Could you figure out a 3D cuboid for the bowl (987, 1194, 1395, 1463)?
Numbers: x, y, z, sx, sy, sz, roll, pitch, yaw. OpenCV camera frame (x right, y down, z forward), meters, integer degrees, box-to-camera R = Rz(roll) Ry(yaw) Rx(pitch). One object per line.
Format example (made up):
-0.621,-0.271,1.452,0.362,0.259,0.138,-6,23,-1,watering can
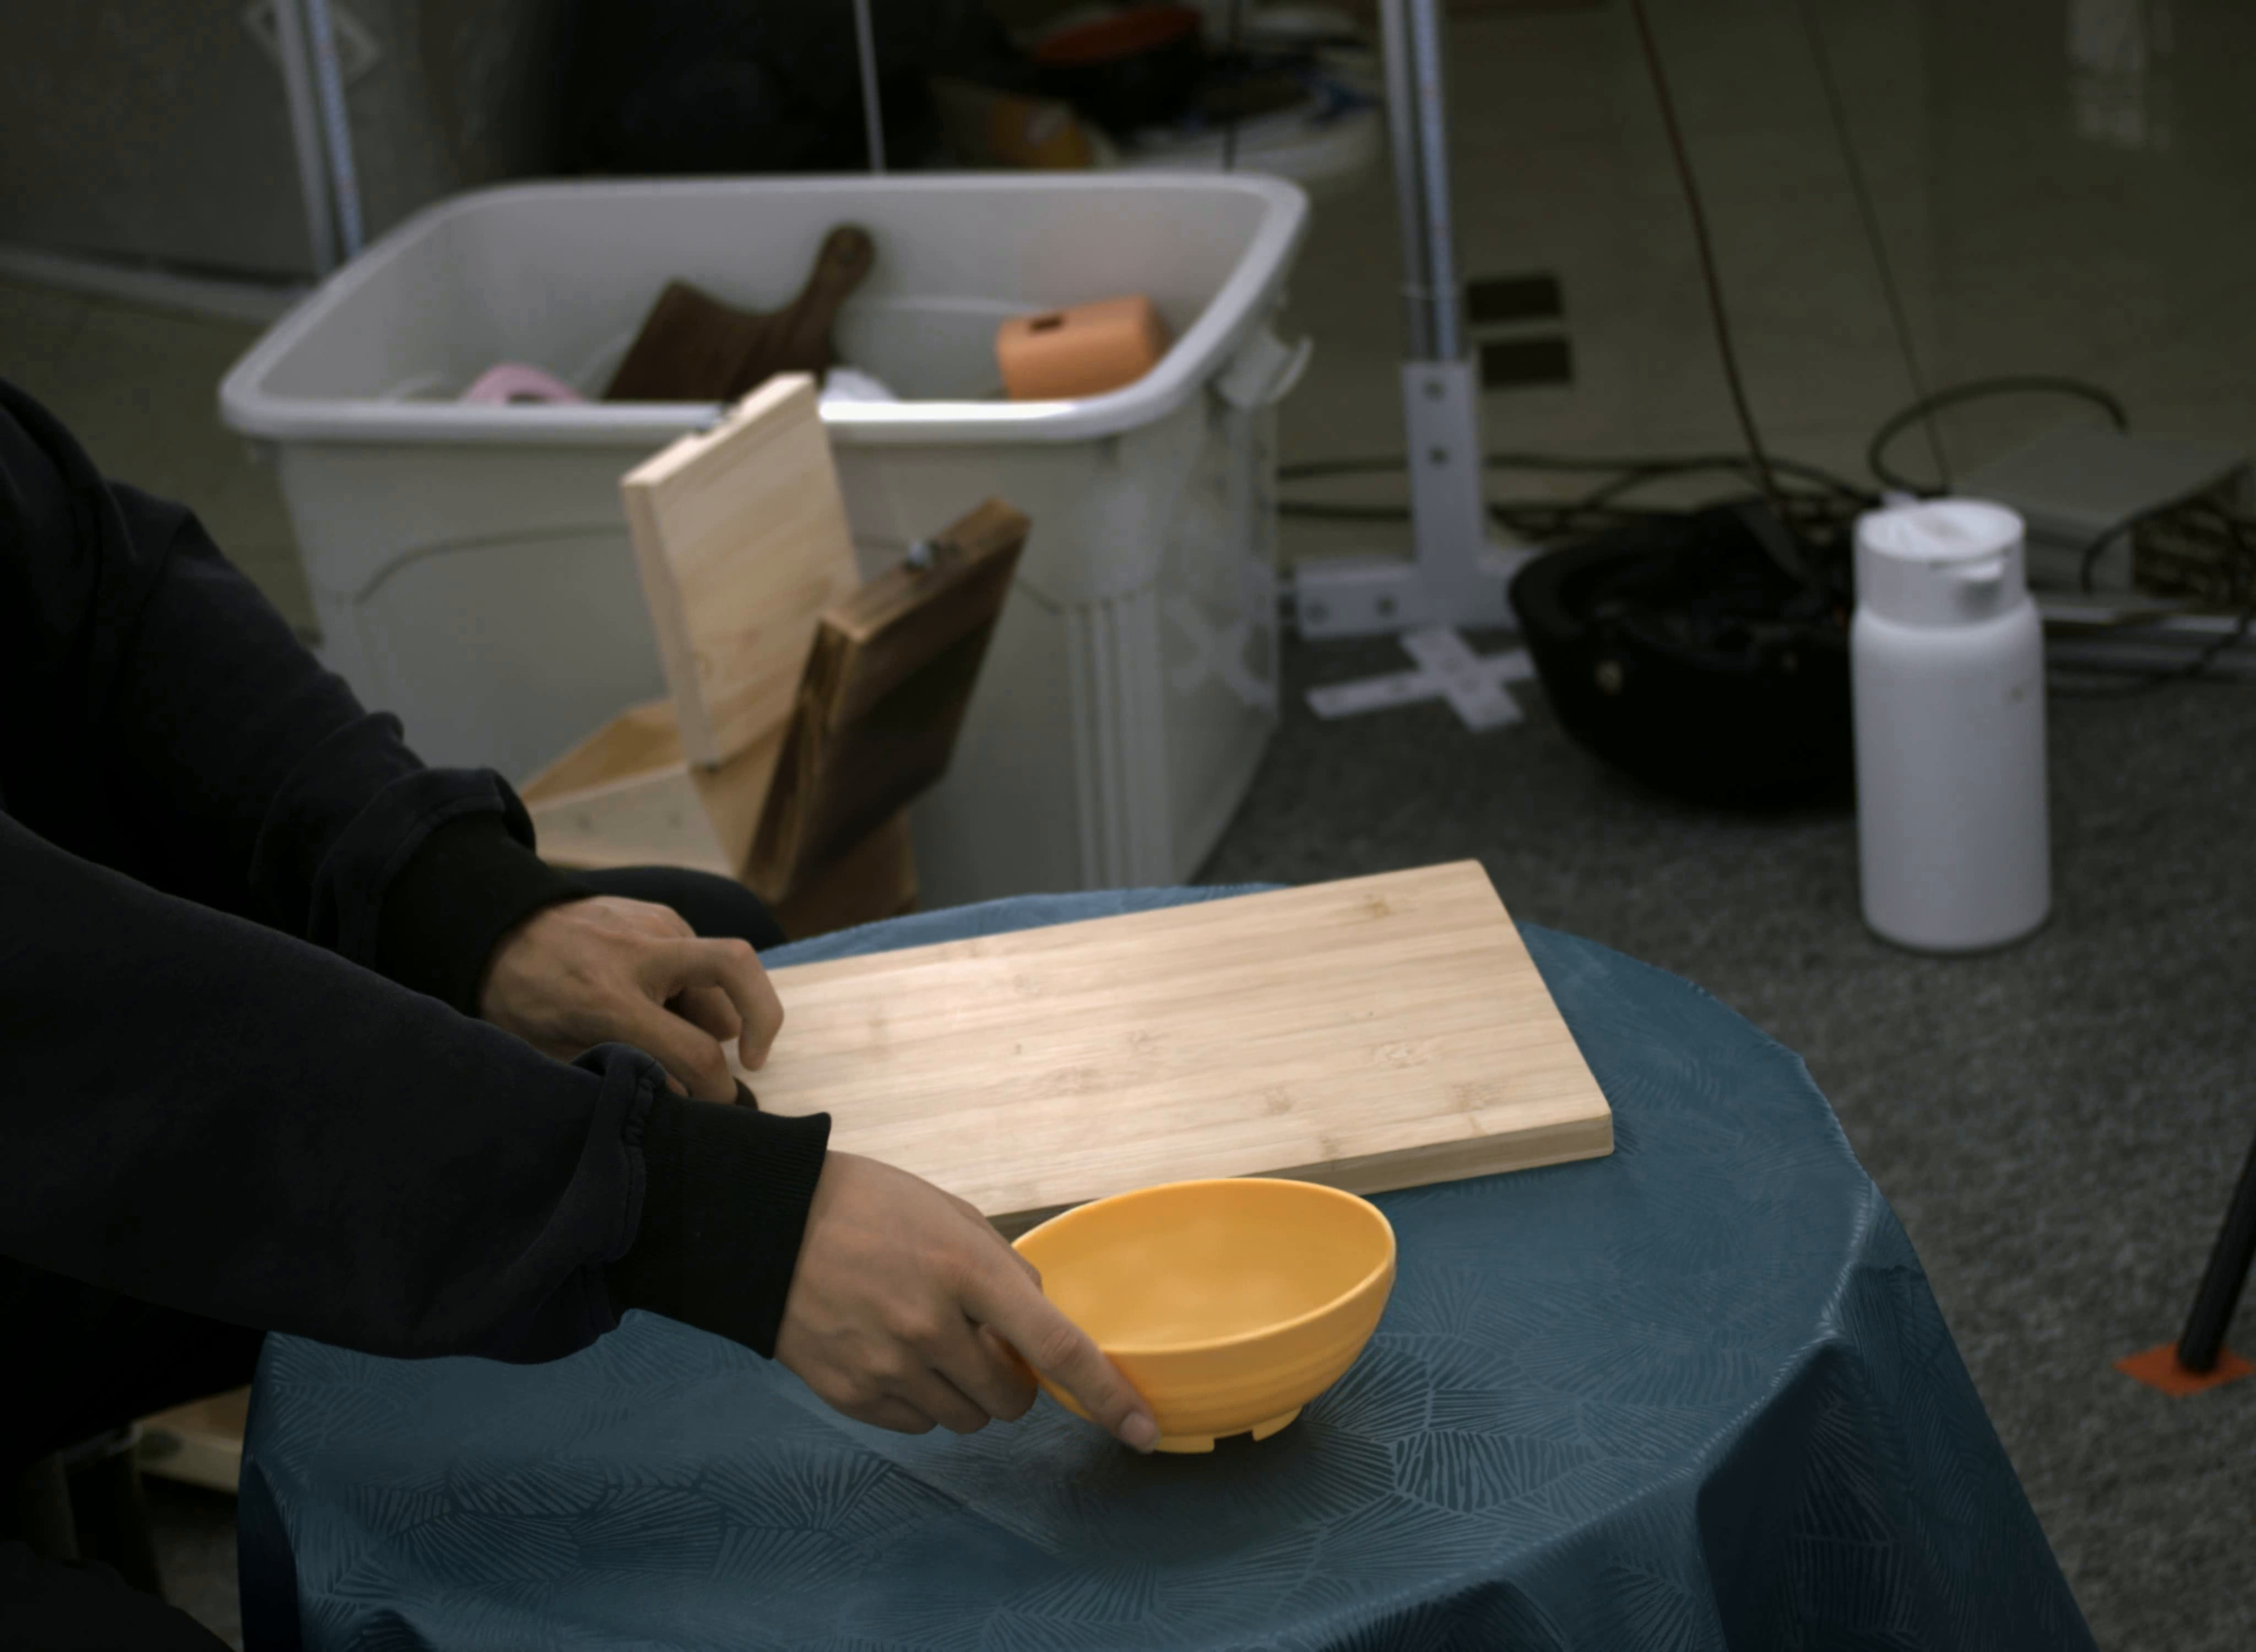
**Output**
0.026,0.182,1.982,0.145,0.061,0.143,-8,18,3,bowl

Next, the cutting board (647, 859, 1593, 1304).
-0.007,0.097,2.226,0.348,0.024,0.247,-9,25,-6,cutting board
